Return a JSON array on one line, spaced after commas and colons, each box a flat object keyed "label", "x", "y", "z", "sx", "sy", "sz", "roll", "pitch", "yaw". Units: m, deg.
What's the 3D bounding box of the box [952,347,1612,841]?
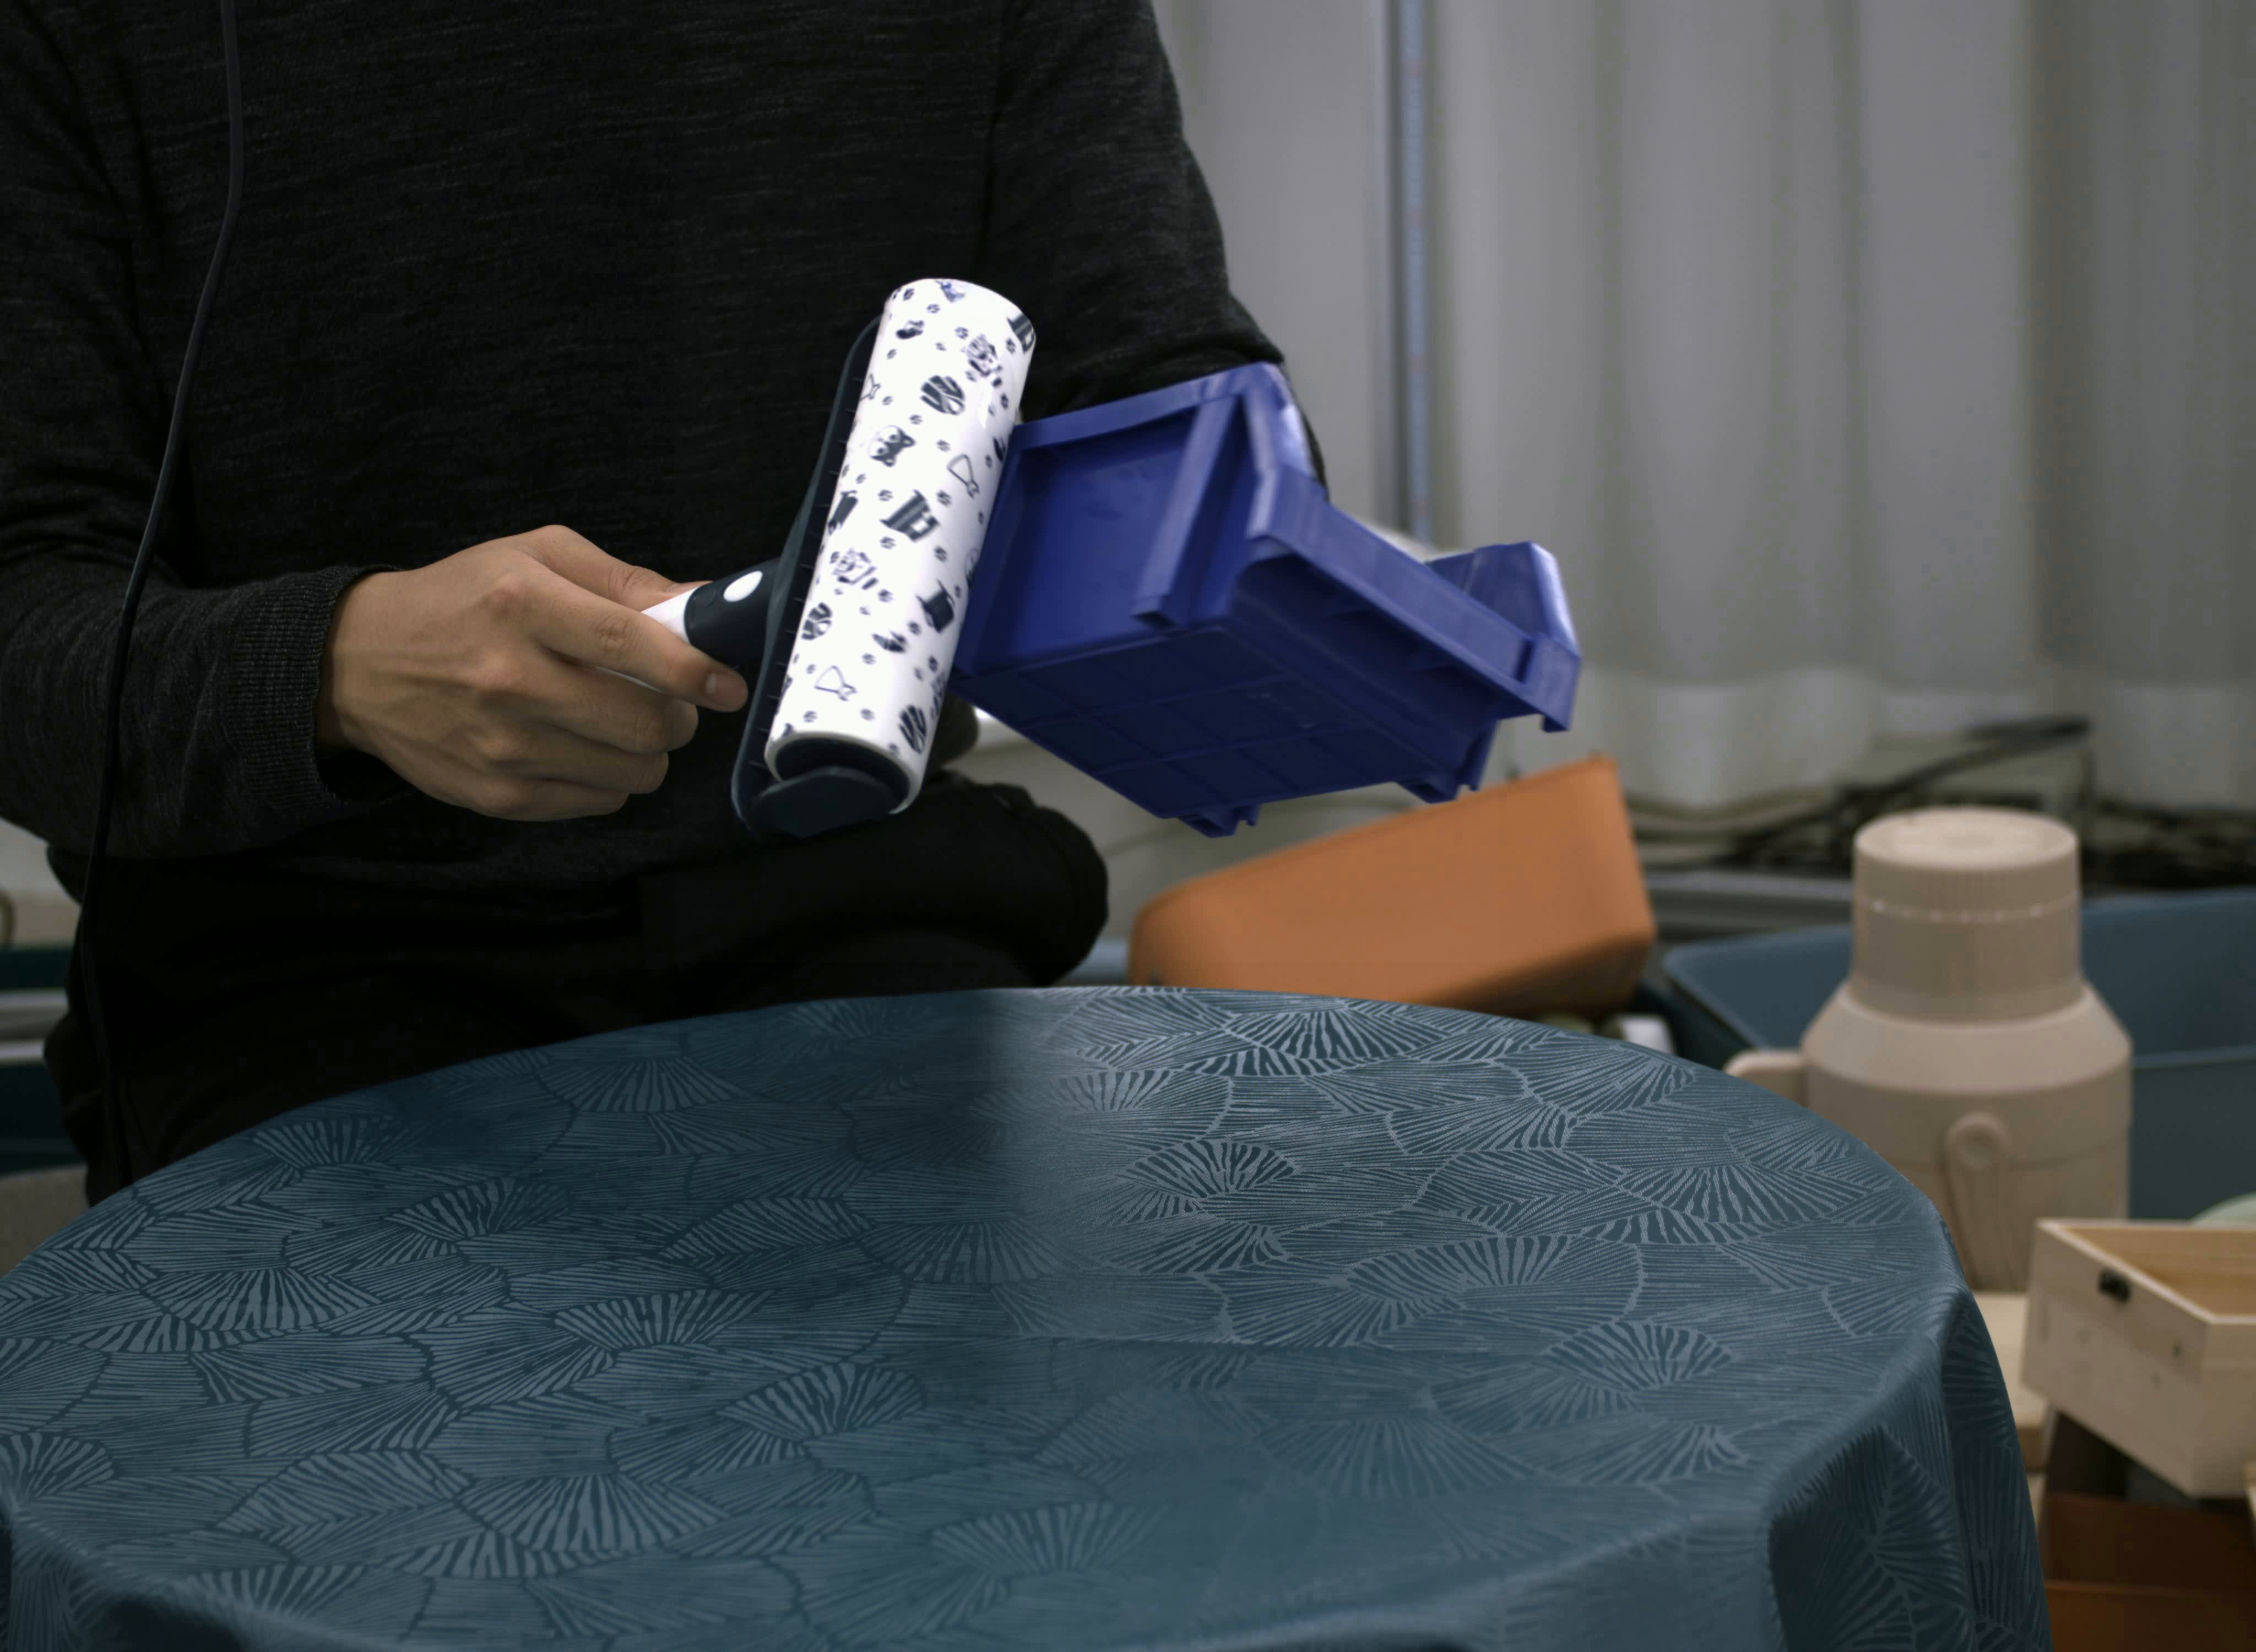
[{"label": "box", "x": 0.045, "y": -0.066, "z": 1.610, "sx": 0.123, "sy": 0.083, "sz": 0.179, "roll": 32, "pitch": -27, "yaw": -29}]

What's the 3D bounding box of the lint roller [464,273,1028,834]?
[{"label": "lint roller", "x": -0.134, "y": -0.060, "z": 1.689, "sx": 0.050, "sy": 0.178, "sz": 0.246, "roll": 33, "pitch": -35, "yaw": -32}]
